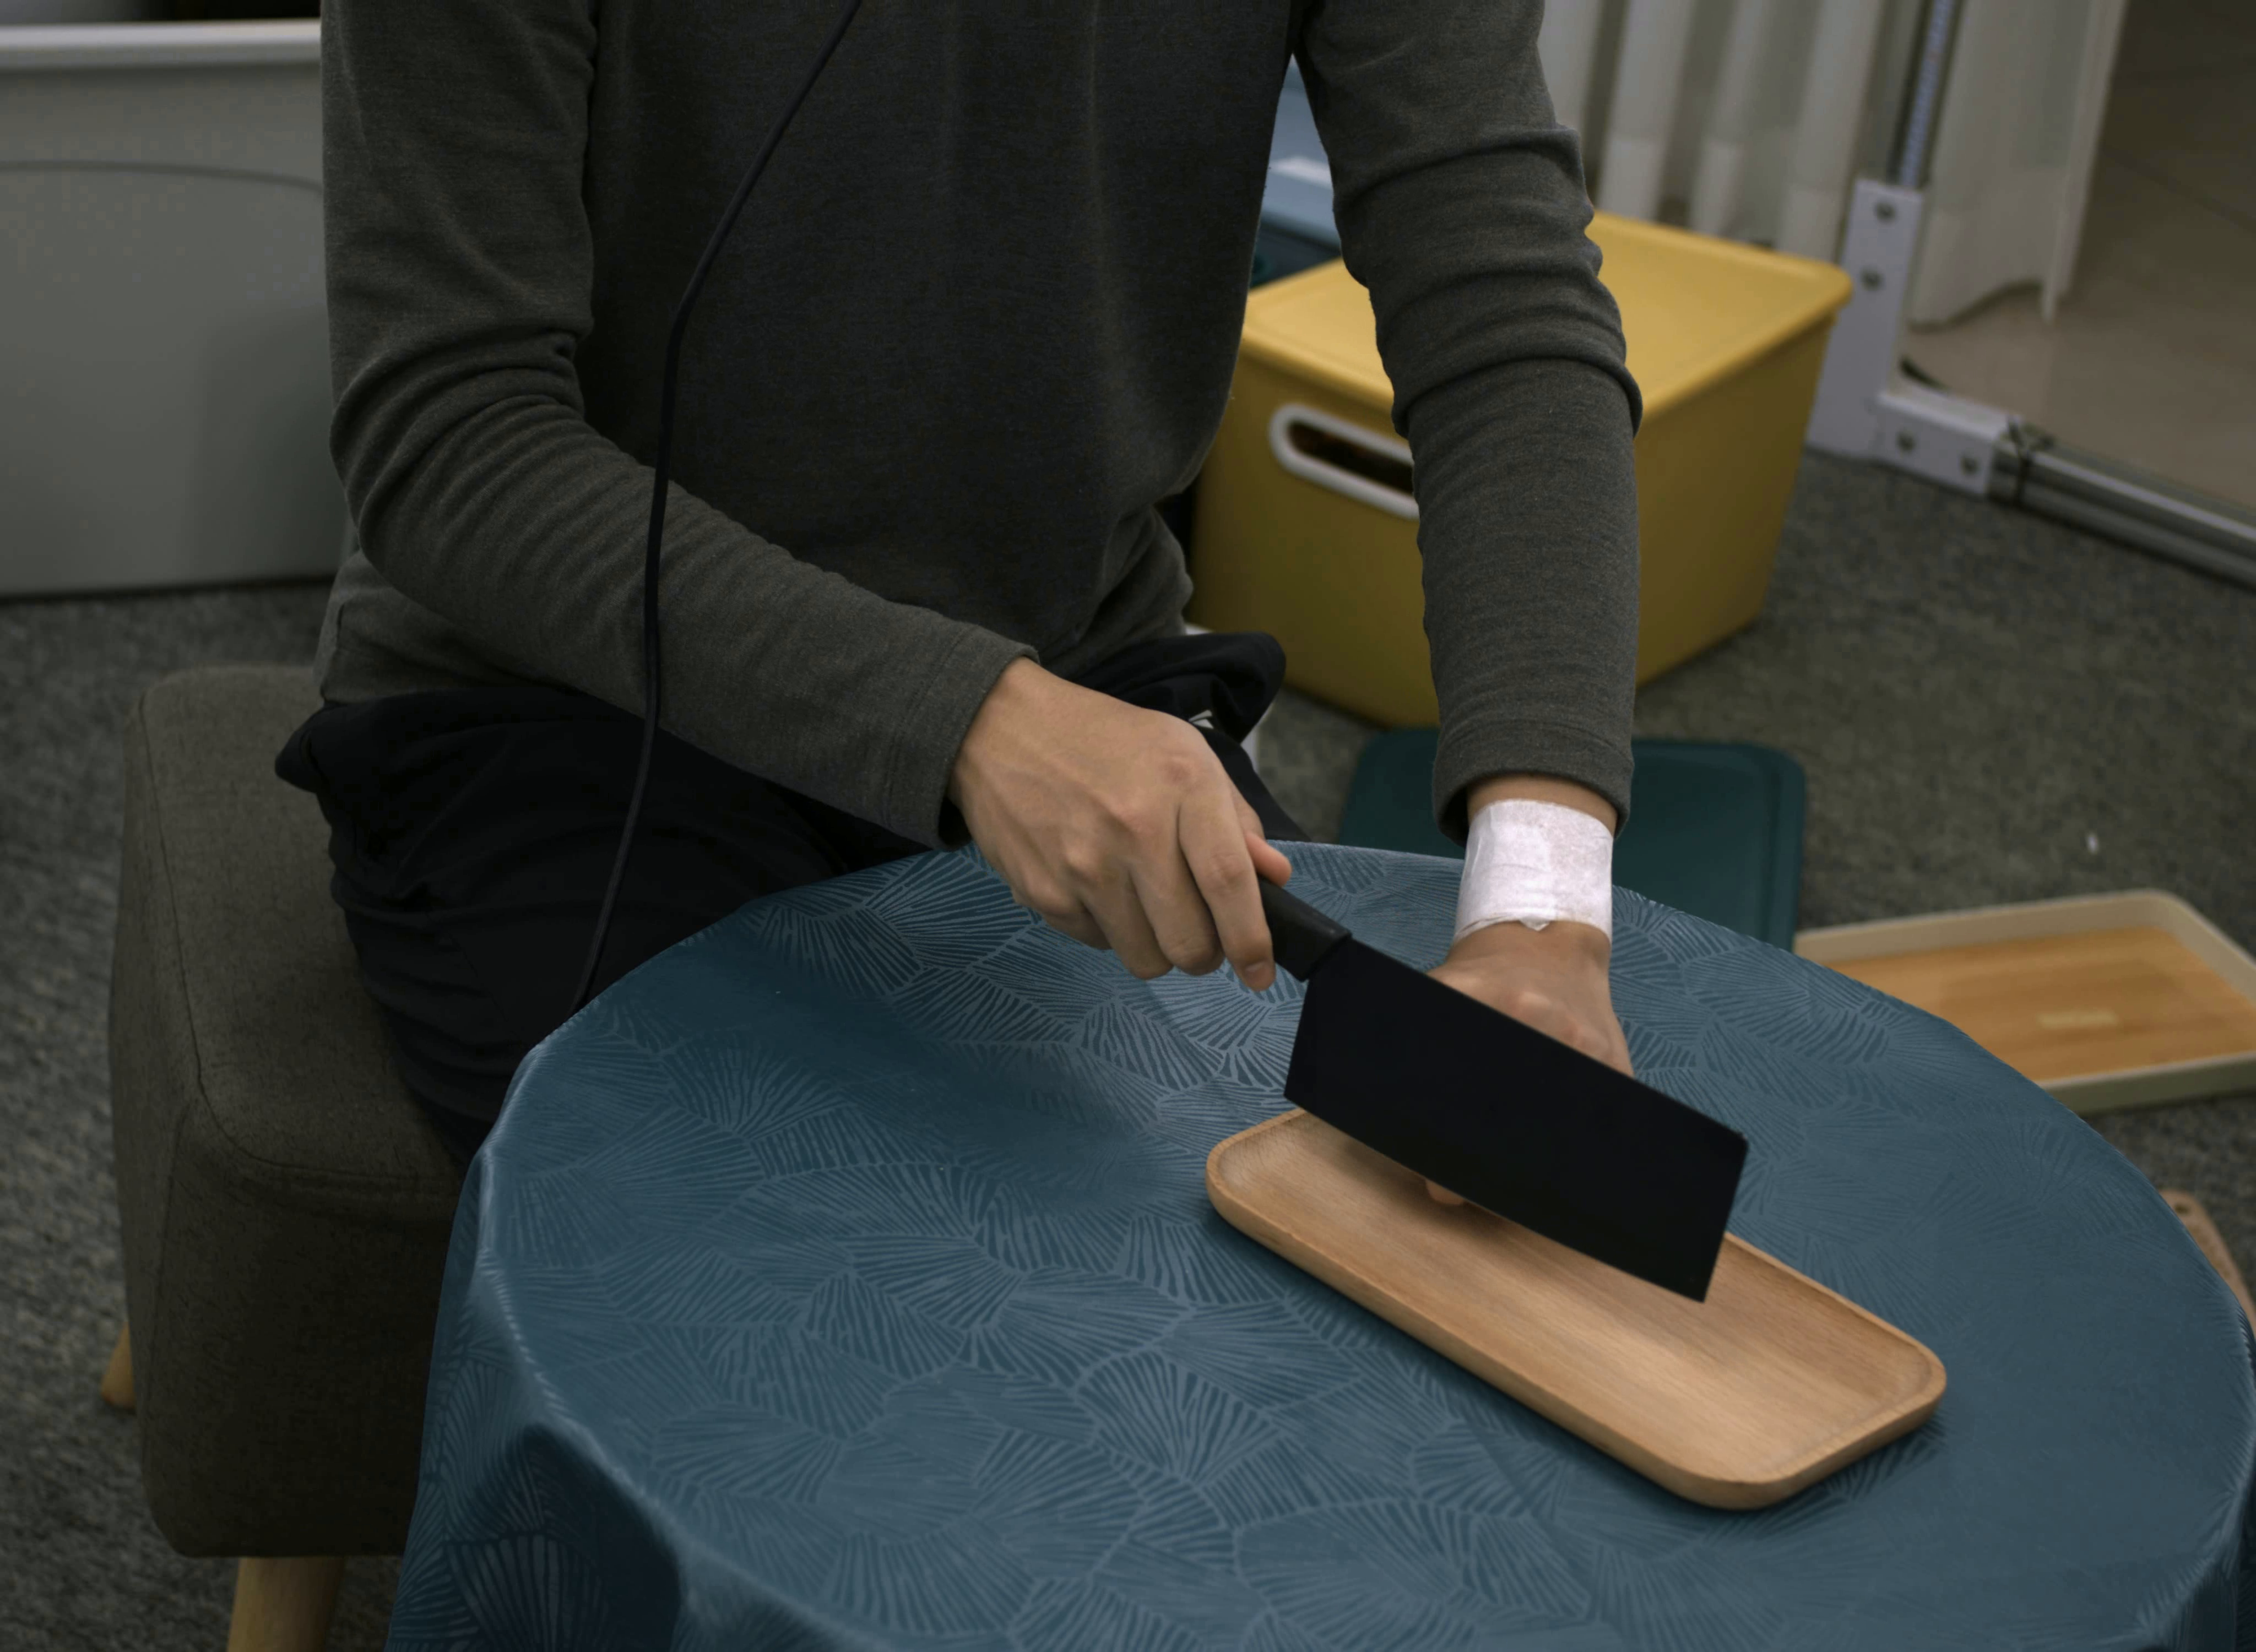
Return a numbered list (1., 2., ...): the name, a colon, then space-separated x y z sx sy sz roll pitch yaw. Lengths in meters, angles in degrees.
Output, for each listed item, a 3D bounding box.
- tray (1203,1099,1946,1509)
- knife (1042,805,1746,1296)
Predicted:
1. tray: 0.145 0.152 1.766 0.130 0.023 0.252 -16 33 -42
2. knife: 0.083 0.069 1.786 0.304 0.081 0.021 31 25 34
